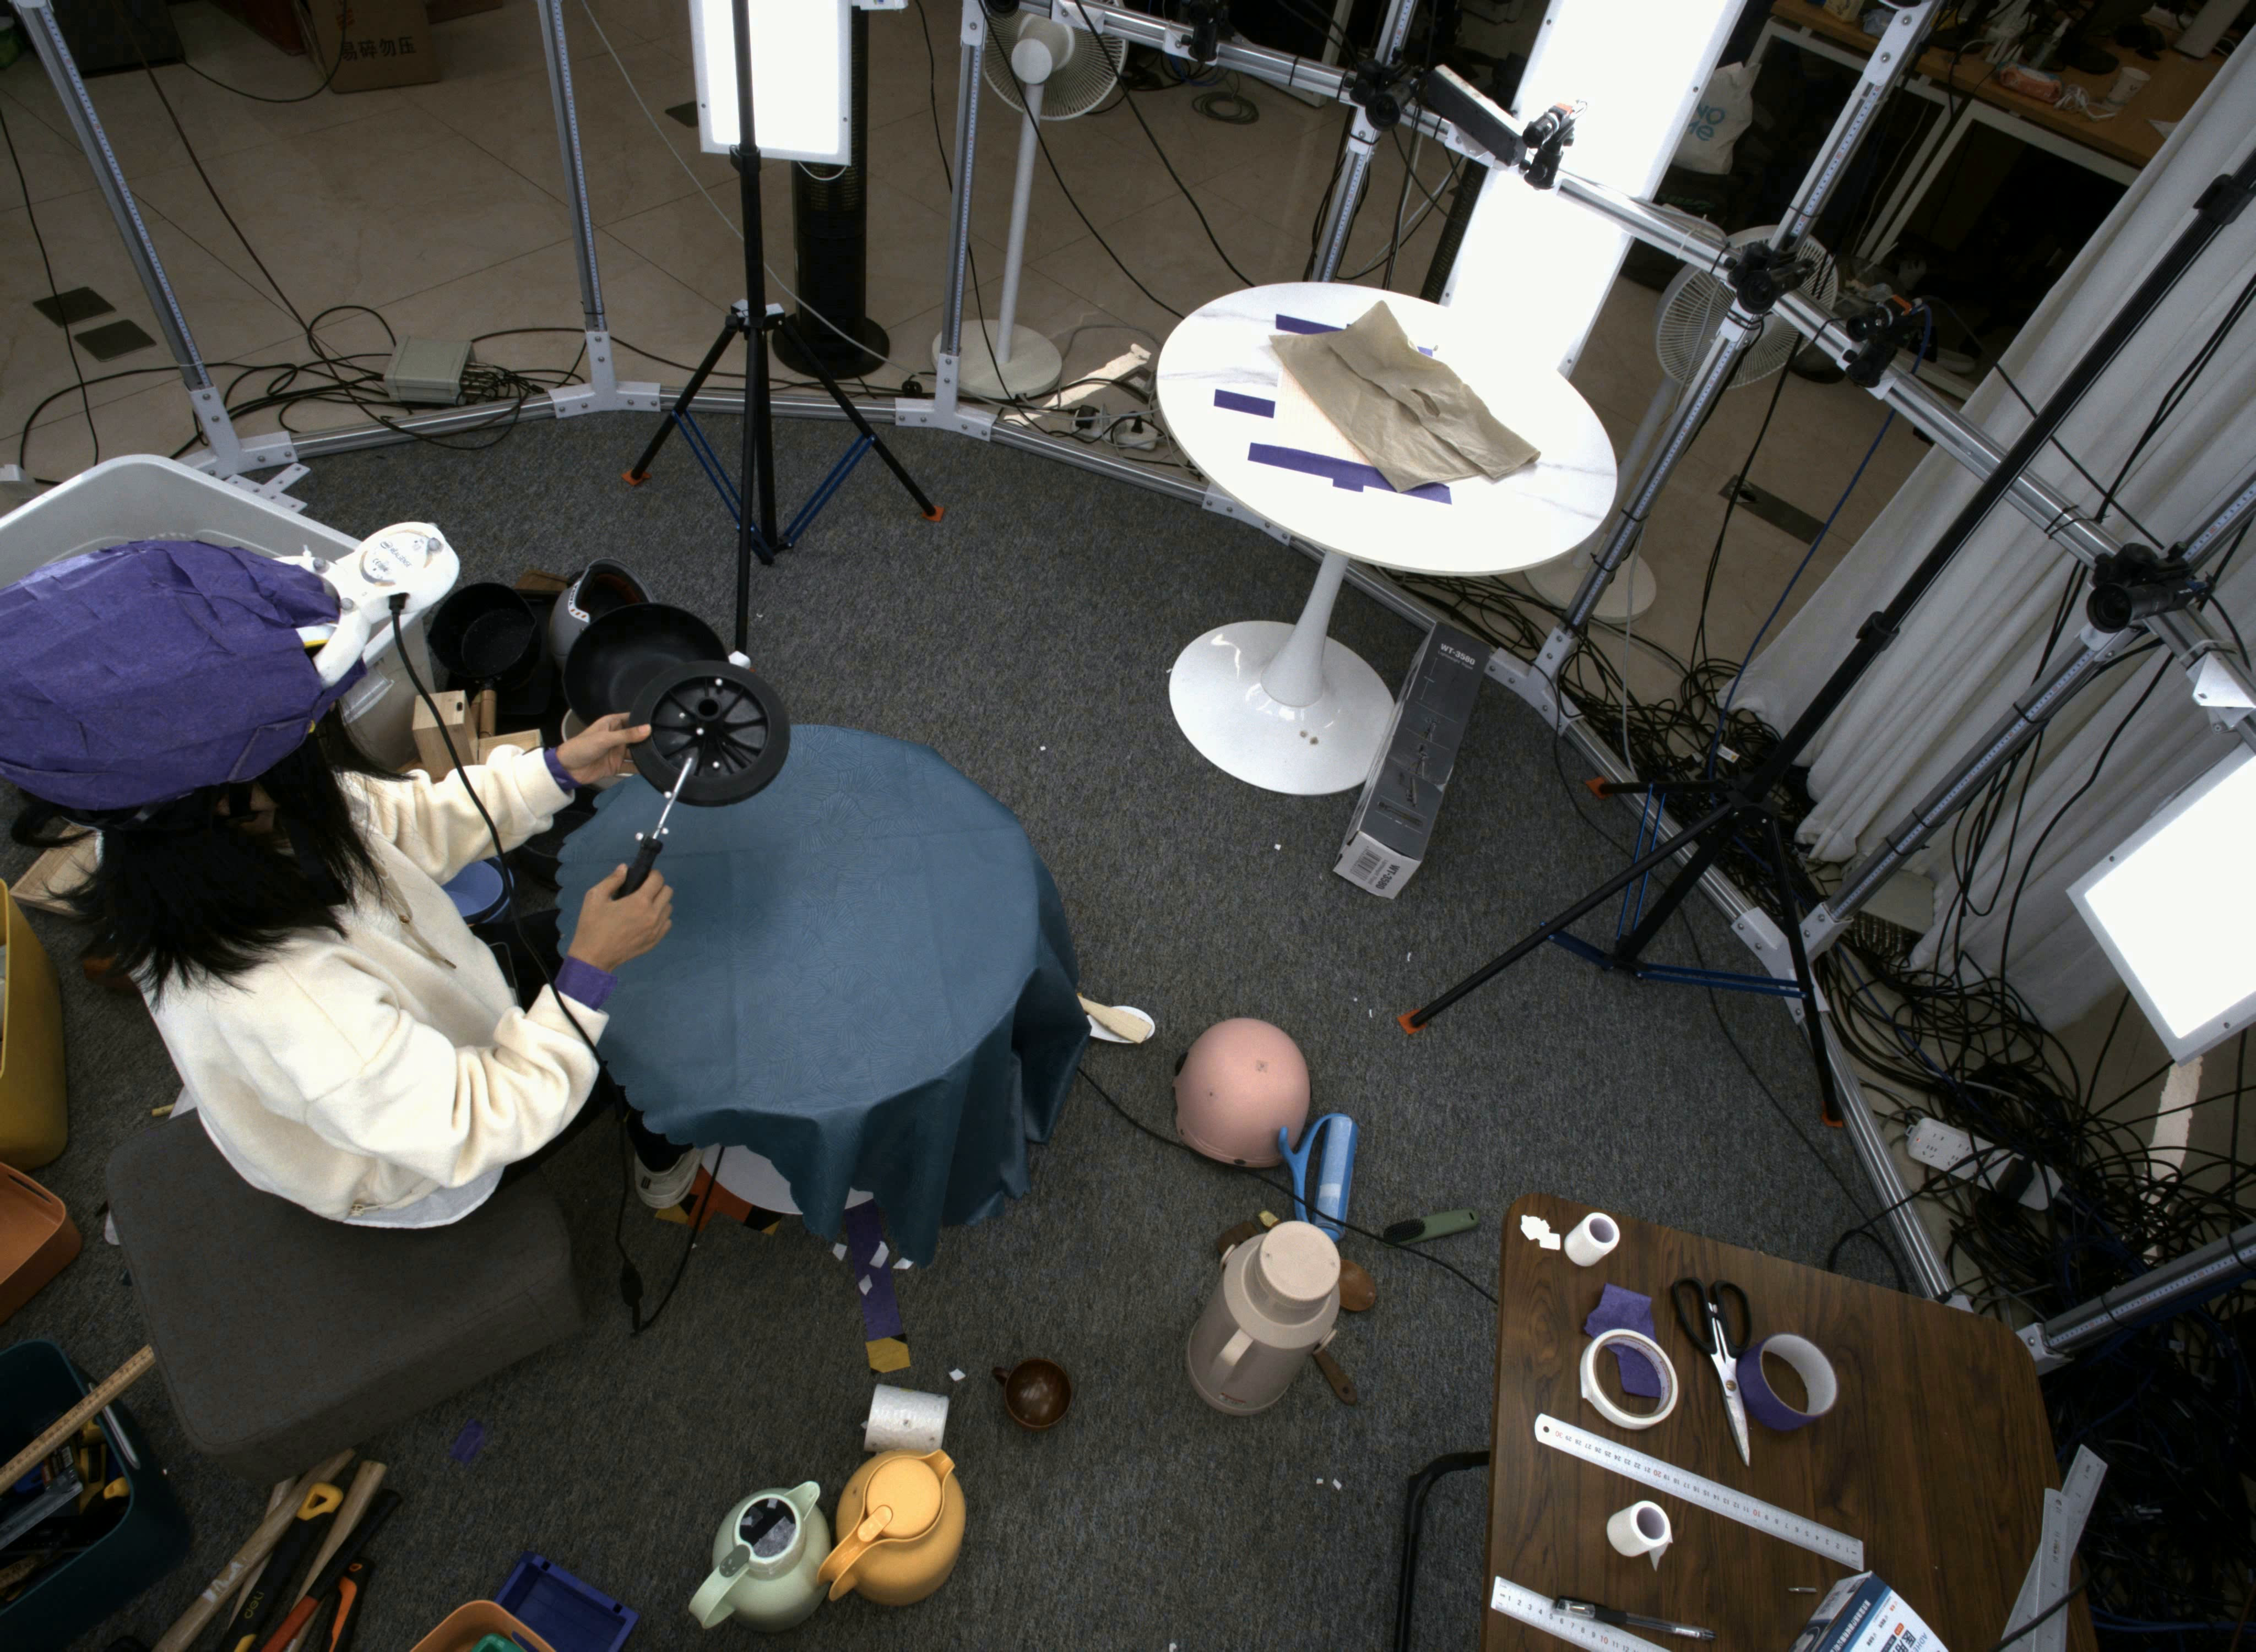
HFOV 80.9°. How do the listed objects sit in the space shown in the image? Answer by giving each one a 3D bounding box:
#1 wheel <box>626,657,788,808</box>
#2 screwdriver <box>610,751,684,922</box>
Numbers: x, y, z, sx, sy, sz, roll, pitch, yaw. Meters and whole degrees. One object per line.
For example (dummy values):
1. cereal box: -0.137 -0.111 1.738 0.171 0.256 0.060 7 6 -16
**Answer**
1. wheel: -0.492 -0.121 1.505 0.191 0.079 0.186 22 64 -12
2. screwdriver: -0.522 0.007 1.393 0.031 0.031 0.197 16 80 0
